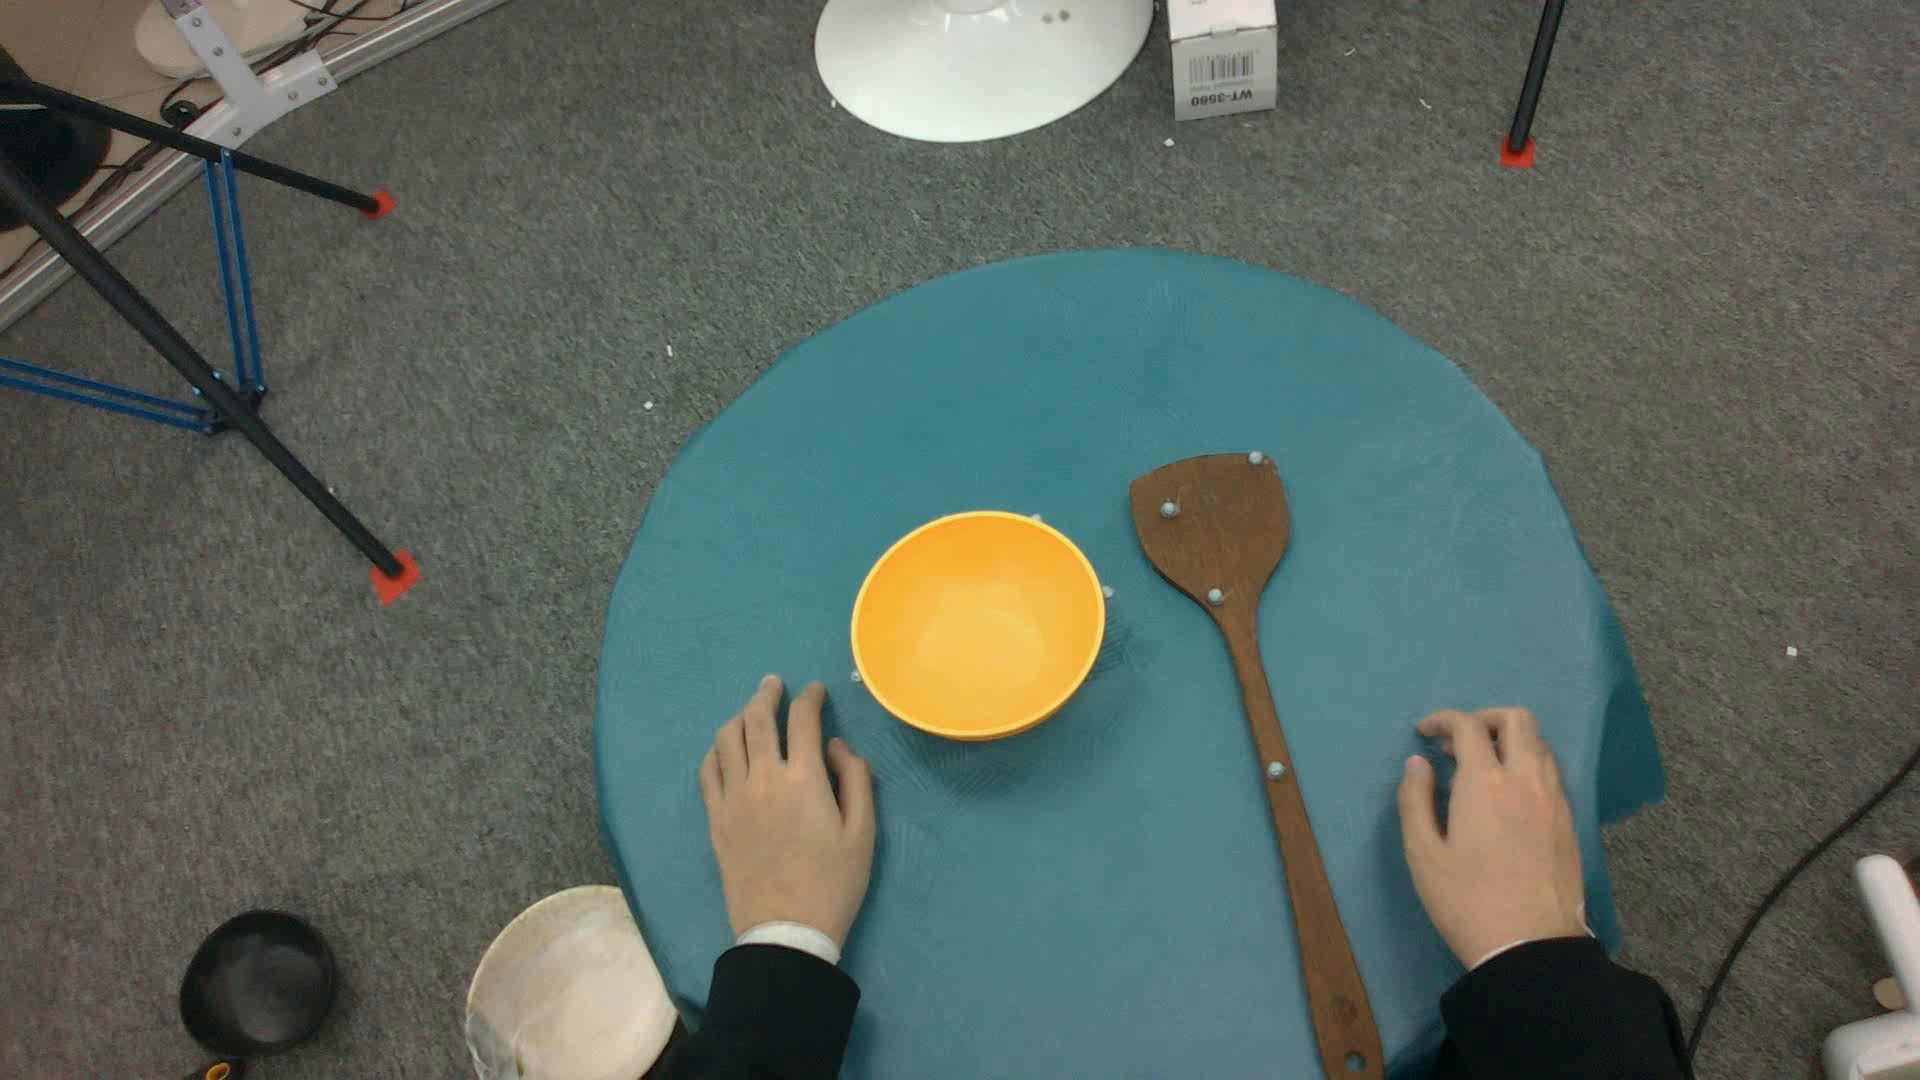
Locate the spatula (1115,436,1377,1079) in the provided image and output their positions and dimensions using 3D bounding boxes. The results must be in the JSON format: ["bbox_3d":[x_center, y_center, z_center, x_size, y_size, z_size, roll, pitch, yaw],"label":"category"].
[{"bbox_3d":[0.166,0.101,0.767,0.096,0.016,0.387,-11,58,3],"label":"spatula"}]

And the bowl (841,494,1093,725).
[{"bbox_3d":[0.008,0.049,0.800,0.145,0.060,0.146,-5,60,8],"label":"bowl"}]
